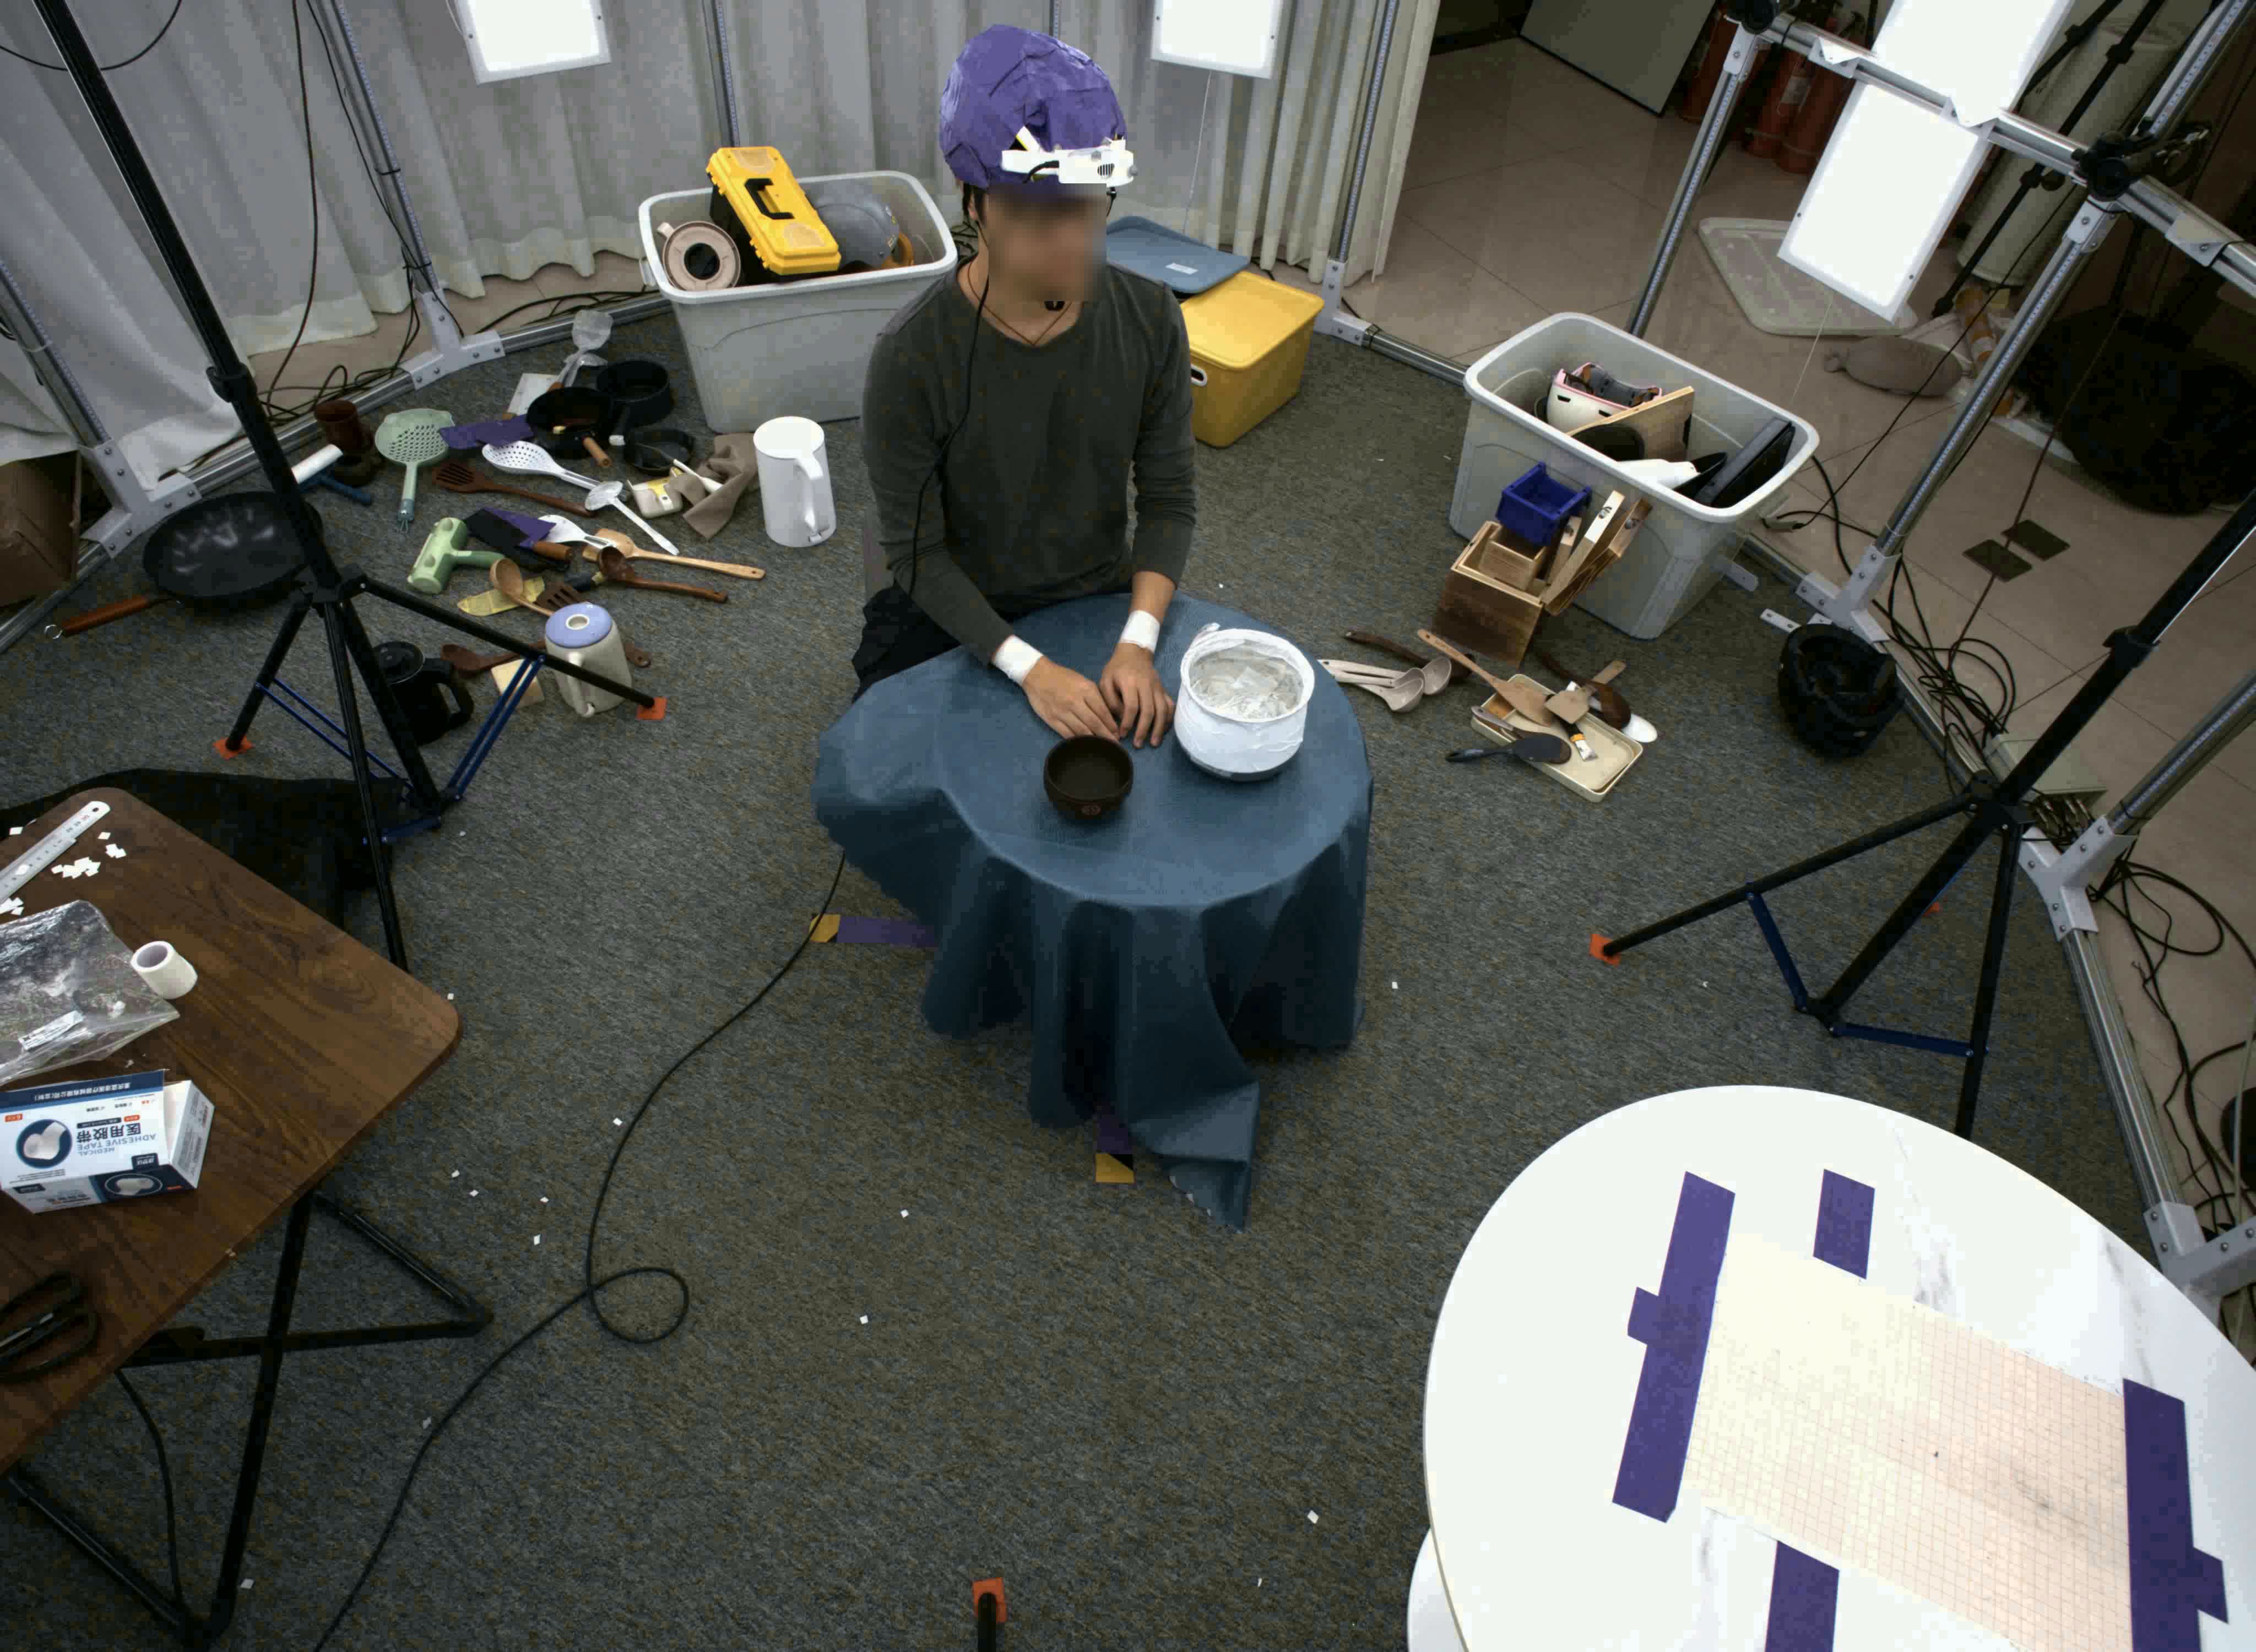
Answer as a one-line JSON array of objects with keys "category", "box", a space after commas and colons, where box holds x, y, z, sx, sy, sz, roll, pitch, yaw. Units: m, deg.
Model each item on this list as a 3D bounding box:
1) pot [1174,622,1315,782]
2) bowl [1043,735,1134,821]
[{"category": "pot", "box": [0.141, -0.178, 1.743, 0.179, 0.133, 0.239, -17, 53, -19]}, {"category": "bowl", "box": [-0.052, -0.054, 1.665, 0.118, 0.068, 0.121, 1, 47, -1]}]
